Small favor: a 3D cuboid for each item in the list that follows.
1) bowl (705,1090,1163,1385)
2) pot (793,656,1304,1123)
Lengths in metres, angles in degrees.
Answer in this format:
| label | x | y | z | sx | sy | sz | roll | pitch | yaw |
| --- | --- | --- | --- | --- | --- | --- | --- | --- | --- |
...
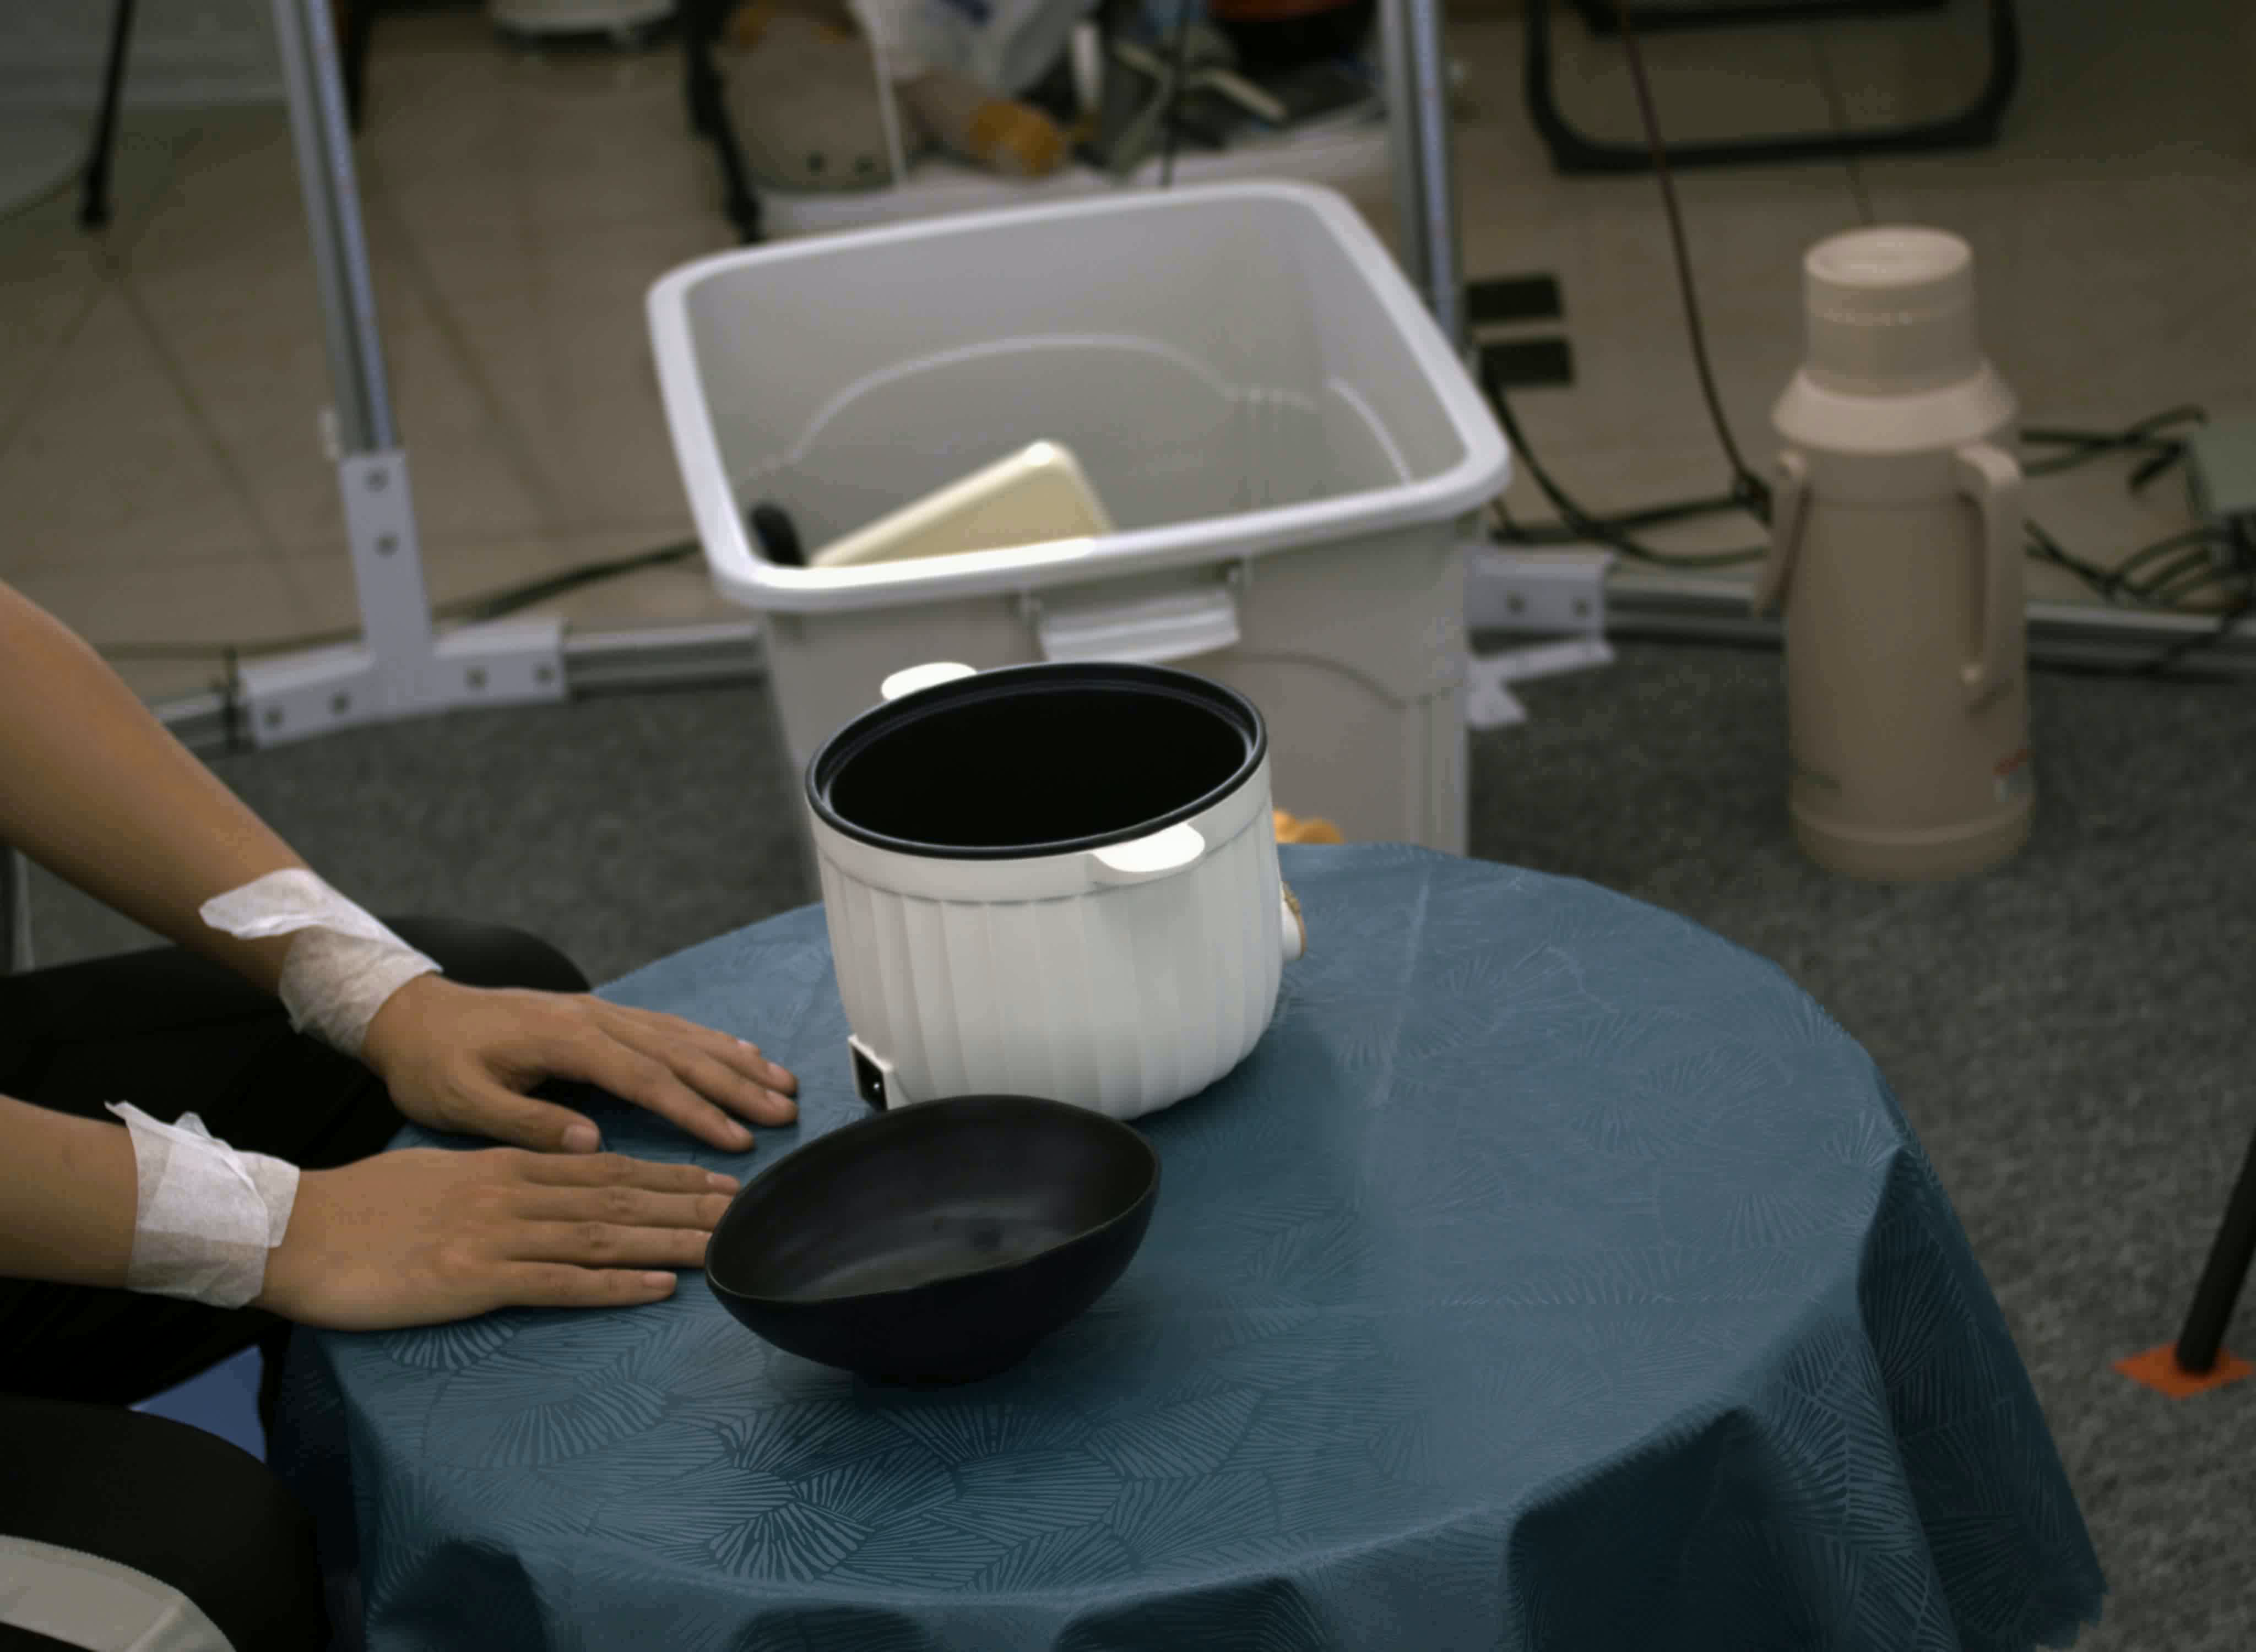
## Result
| label | x | y | z | sx | sy | sz | roll | pitch | yaw |
| --- | --- | --- | --- | --- | --- | --- | --- | --- | --- |
| bowl | -0.066 | 0.158 | 2.049 | 0.170 | 0.068 | 0.135 | -15 | 25 | -15 |
| pot | -0.026 | 0.029 | 2.227 | 0.189 | 0.145 | 0.237 | -21 | 29 | -20 |
